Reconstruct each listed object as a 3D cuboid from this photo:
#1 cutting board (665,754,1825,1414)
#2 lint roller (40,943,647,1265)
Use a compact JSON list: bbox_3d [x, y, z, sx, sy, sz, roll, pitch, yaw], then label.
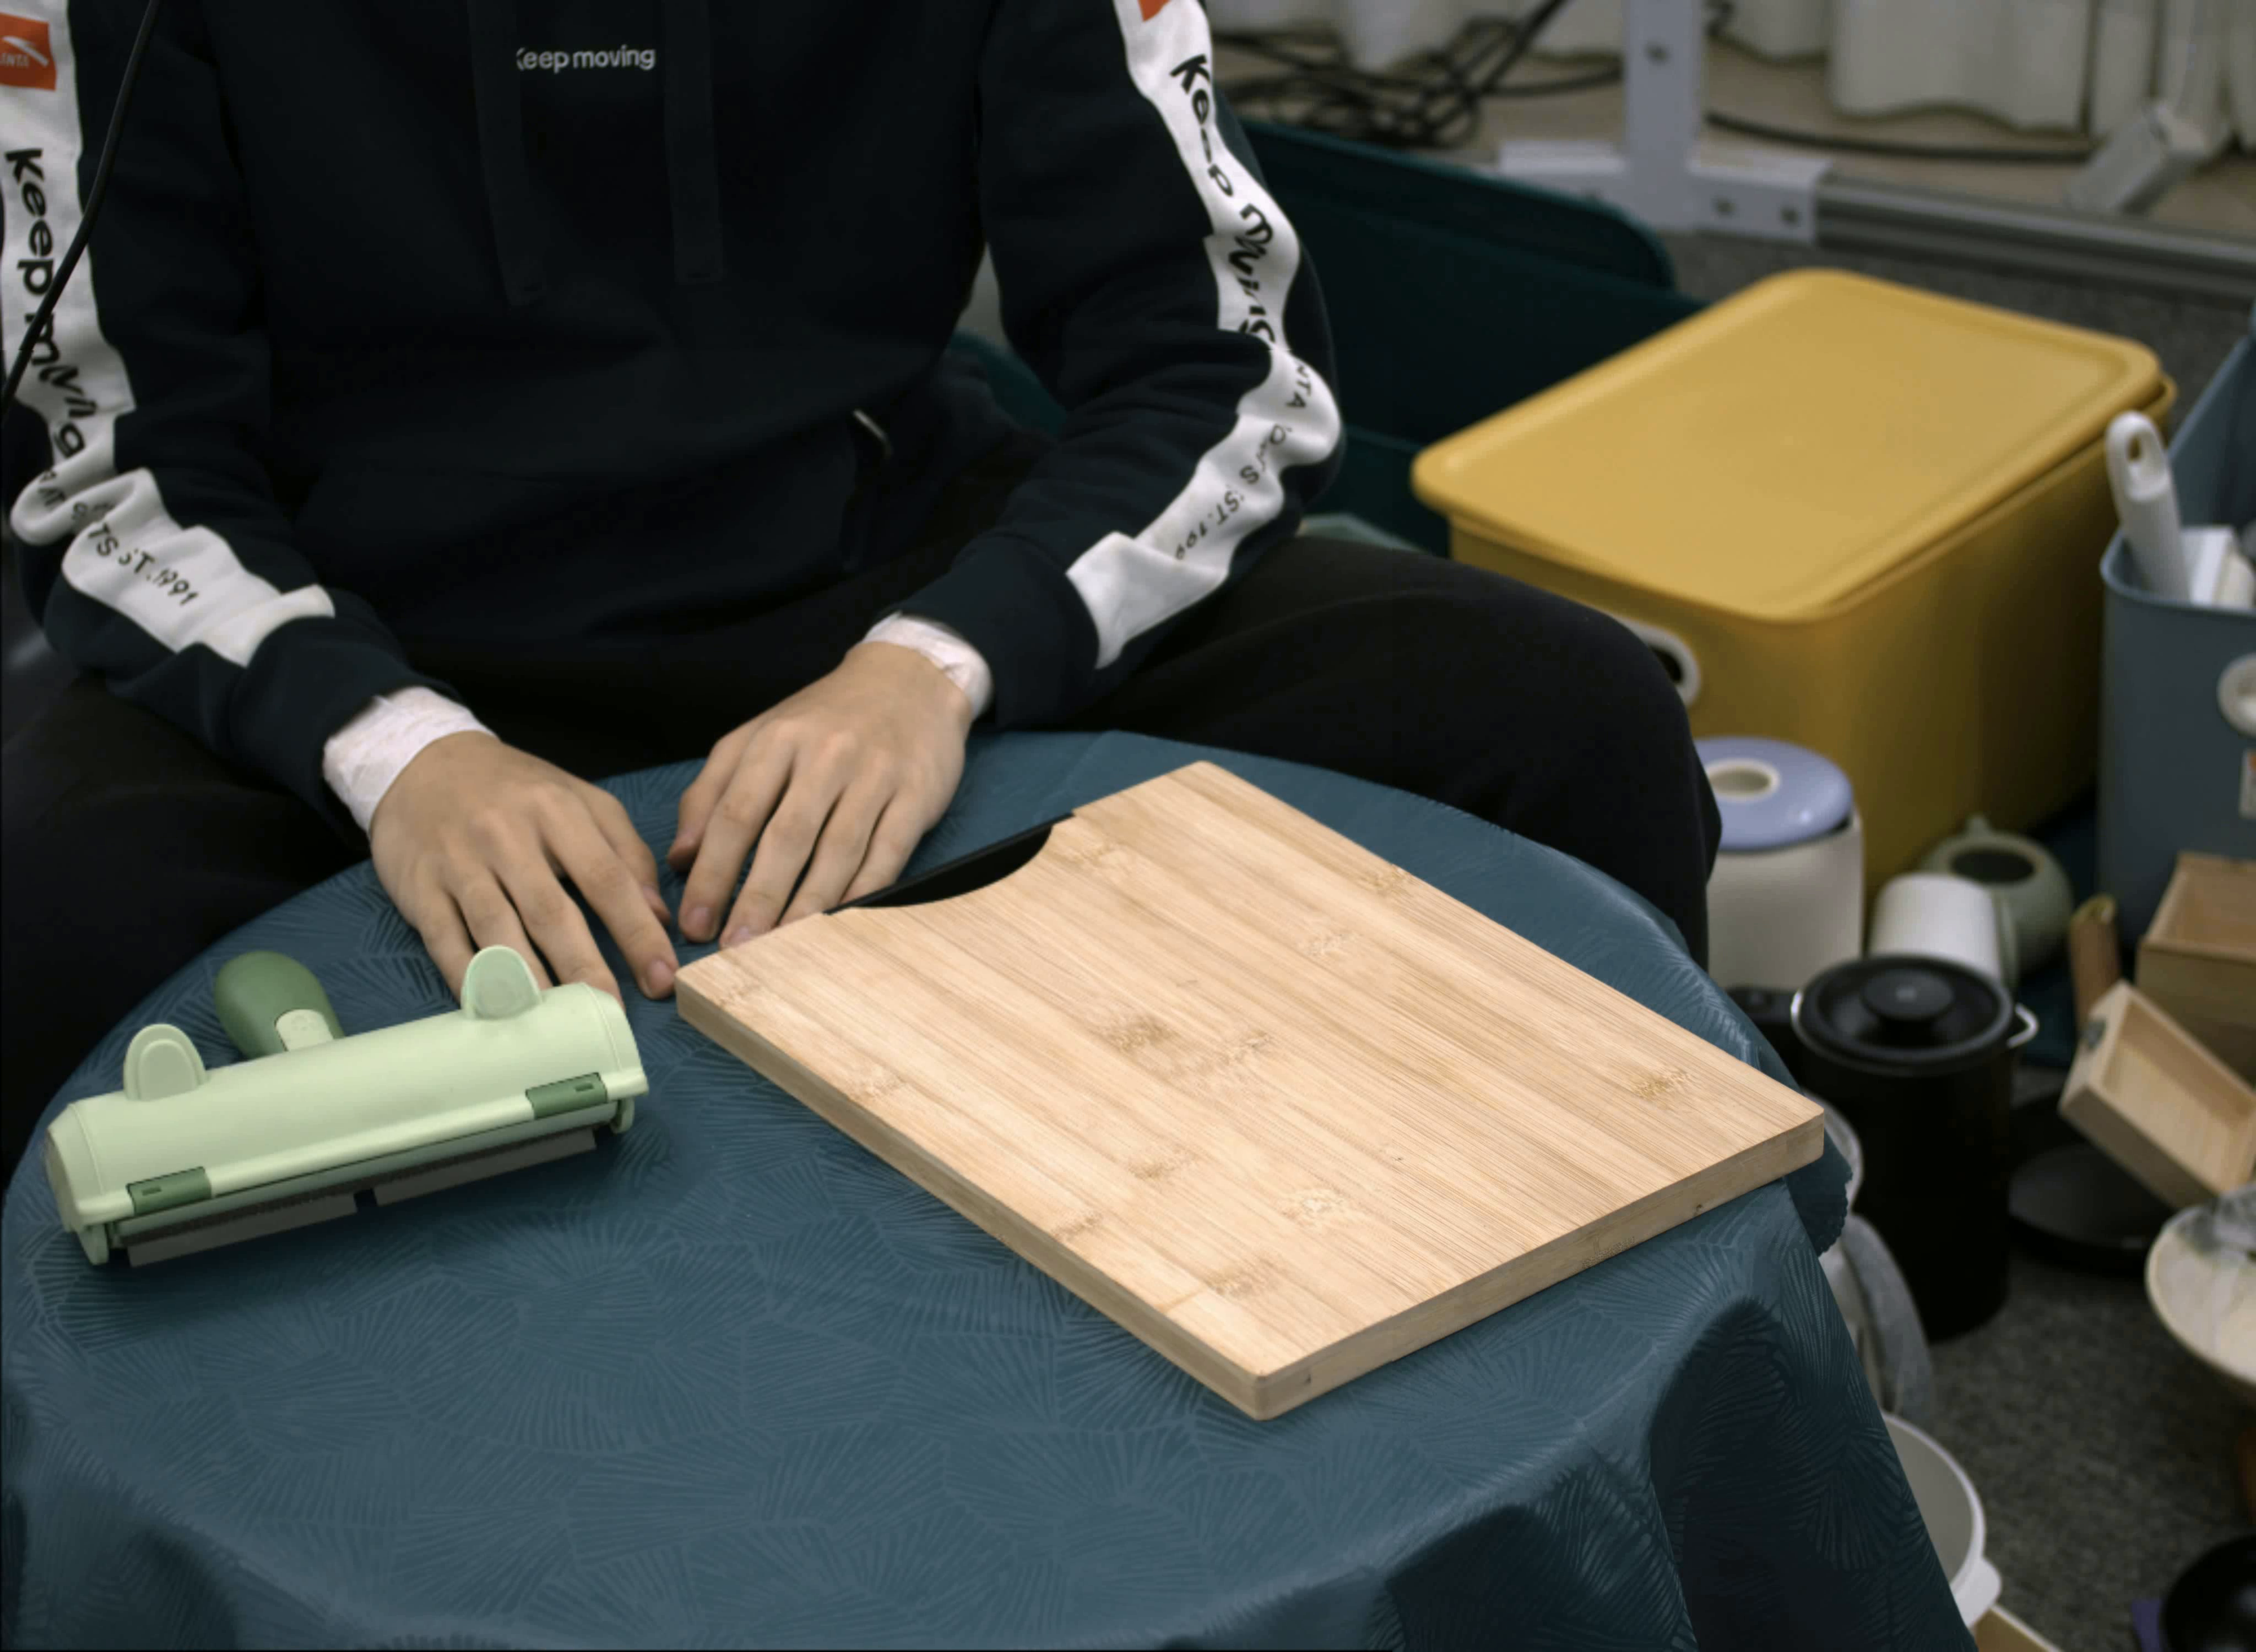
[{"bbox_3d":[0.033,0.080,1.920,0.253,0.023,0.349,-21,33,-32],"label":"cutting board"},{"bbox_3d":[-0.281,0.067,1.911,0.199,0.081,0.185,-13,33,-19],"label":"lint roller"}]
